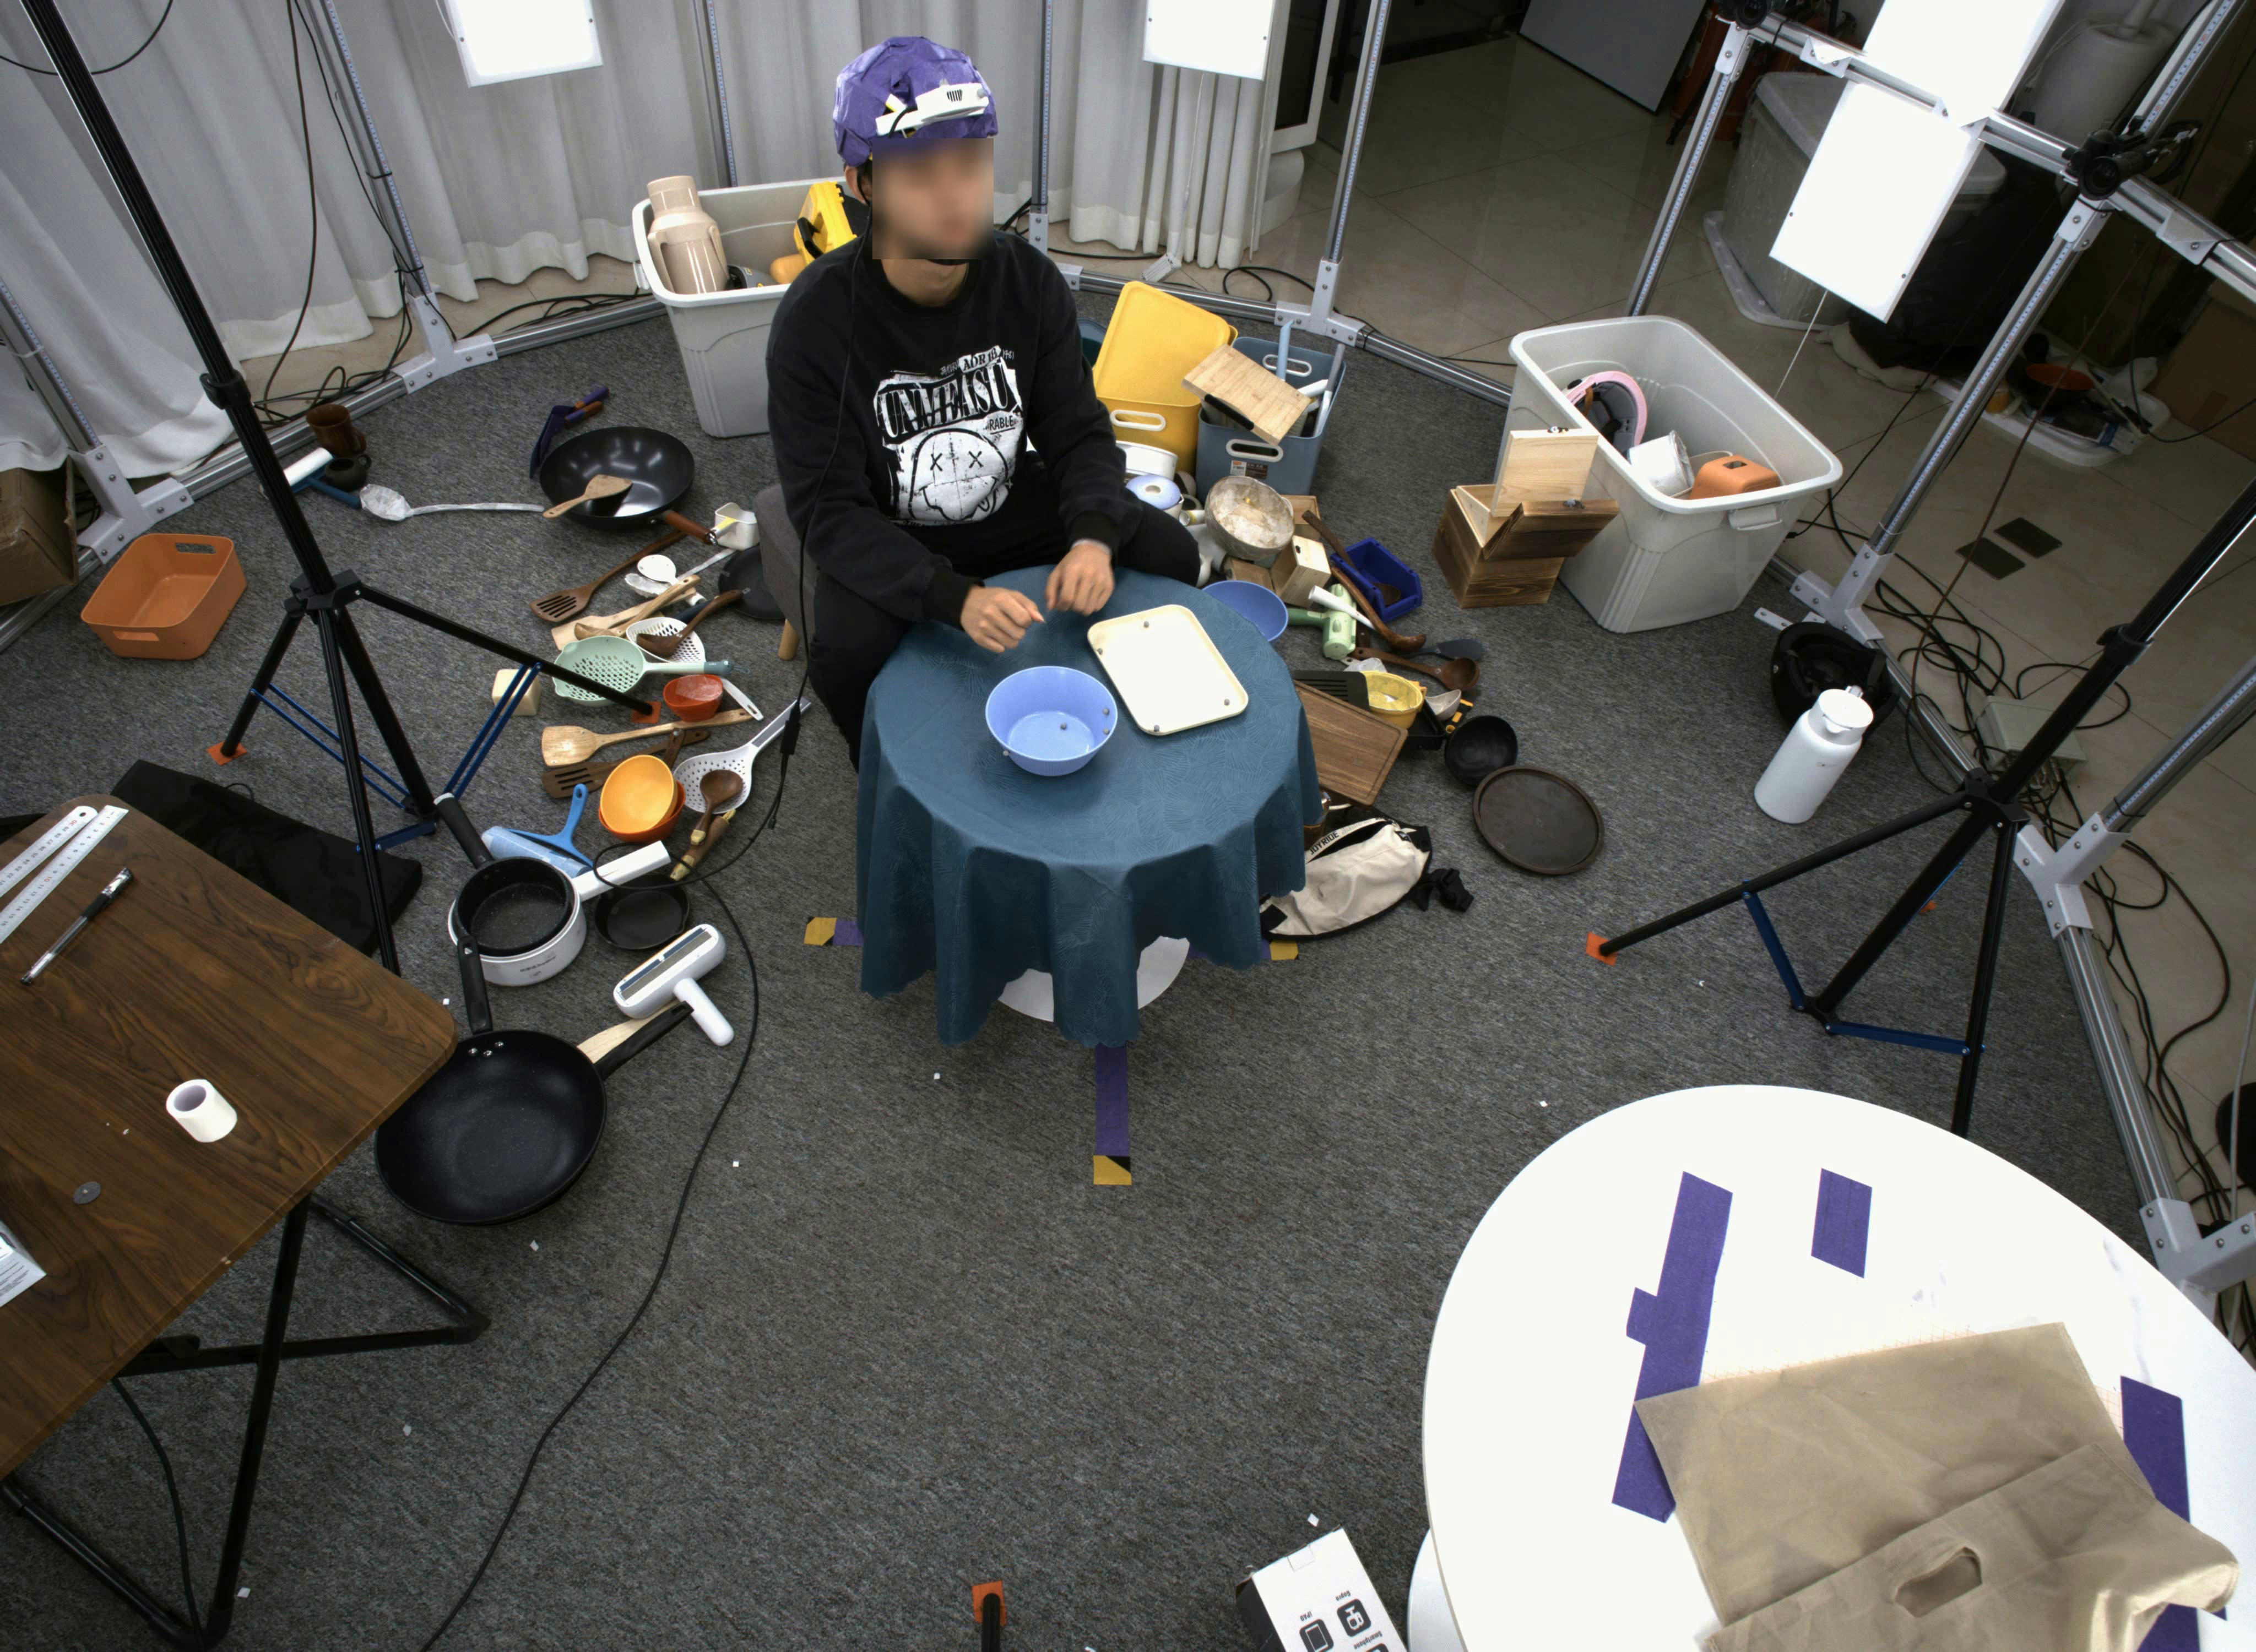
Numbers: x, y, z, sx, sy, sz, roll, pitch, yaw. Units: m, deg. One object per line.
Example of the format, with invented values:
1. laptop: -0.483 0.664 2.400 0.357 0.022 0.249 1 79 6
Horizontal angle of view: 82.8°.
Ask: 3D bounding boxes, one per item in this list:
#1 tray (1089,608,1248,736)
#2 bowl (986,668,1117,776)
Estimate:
1. tray: 0.056 -0.226 1.874 0.171 0.017 0.245 -15 52 -17
2. bowl: -0.104 -0.133 1.747 0.176 0.068 0.180 2 49 -3
